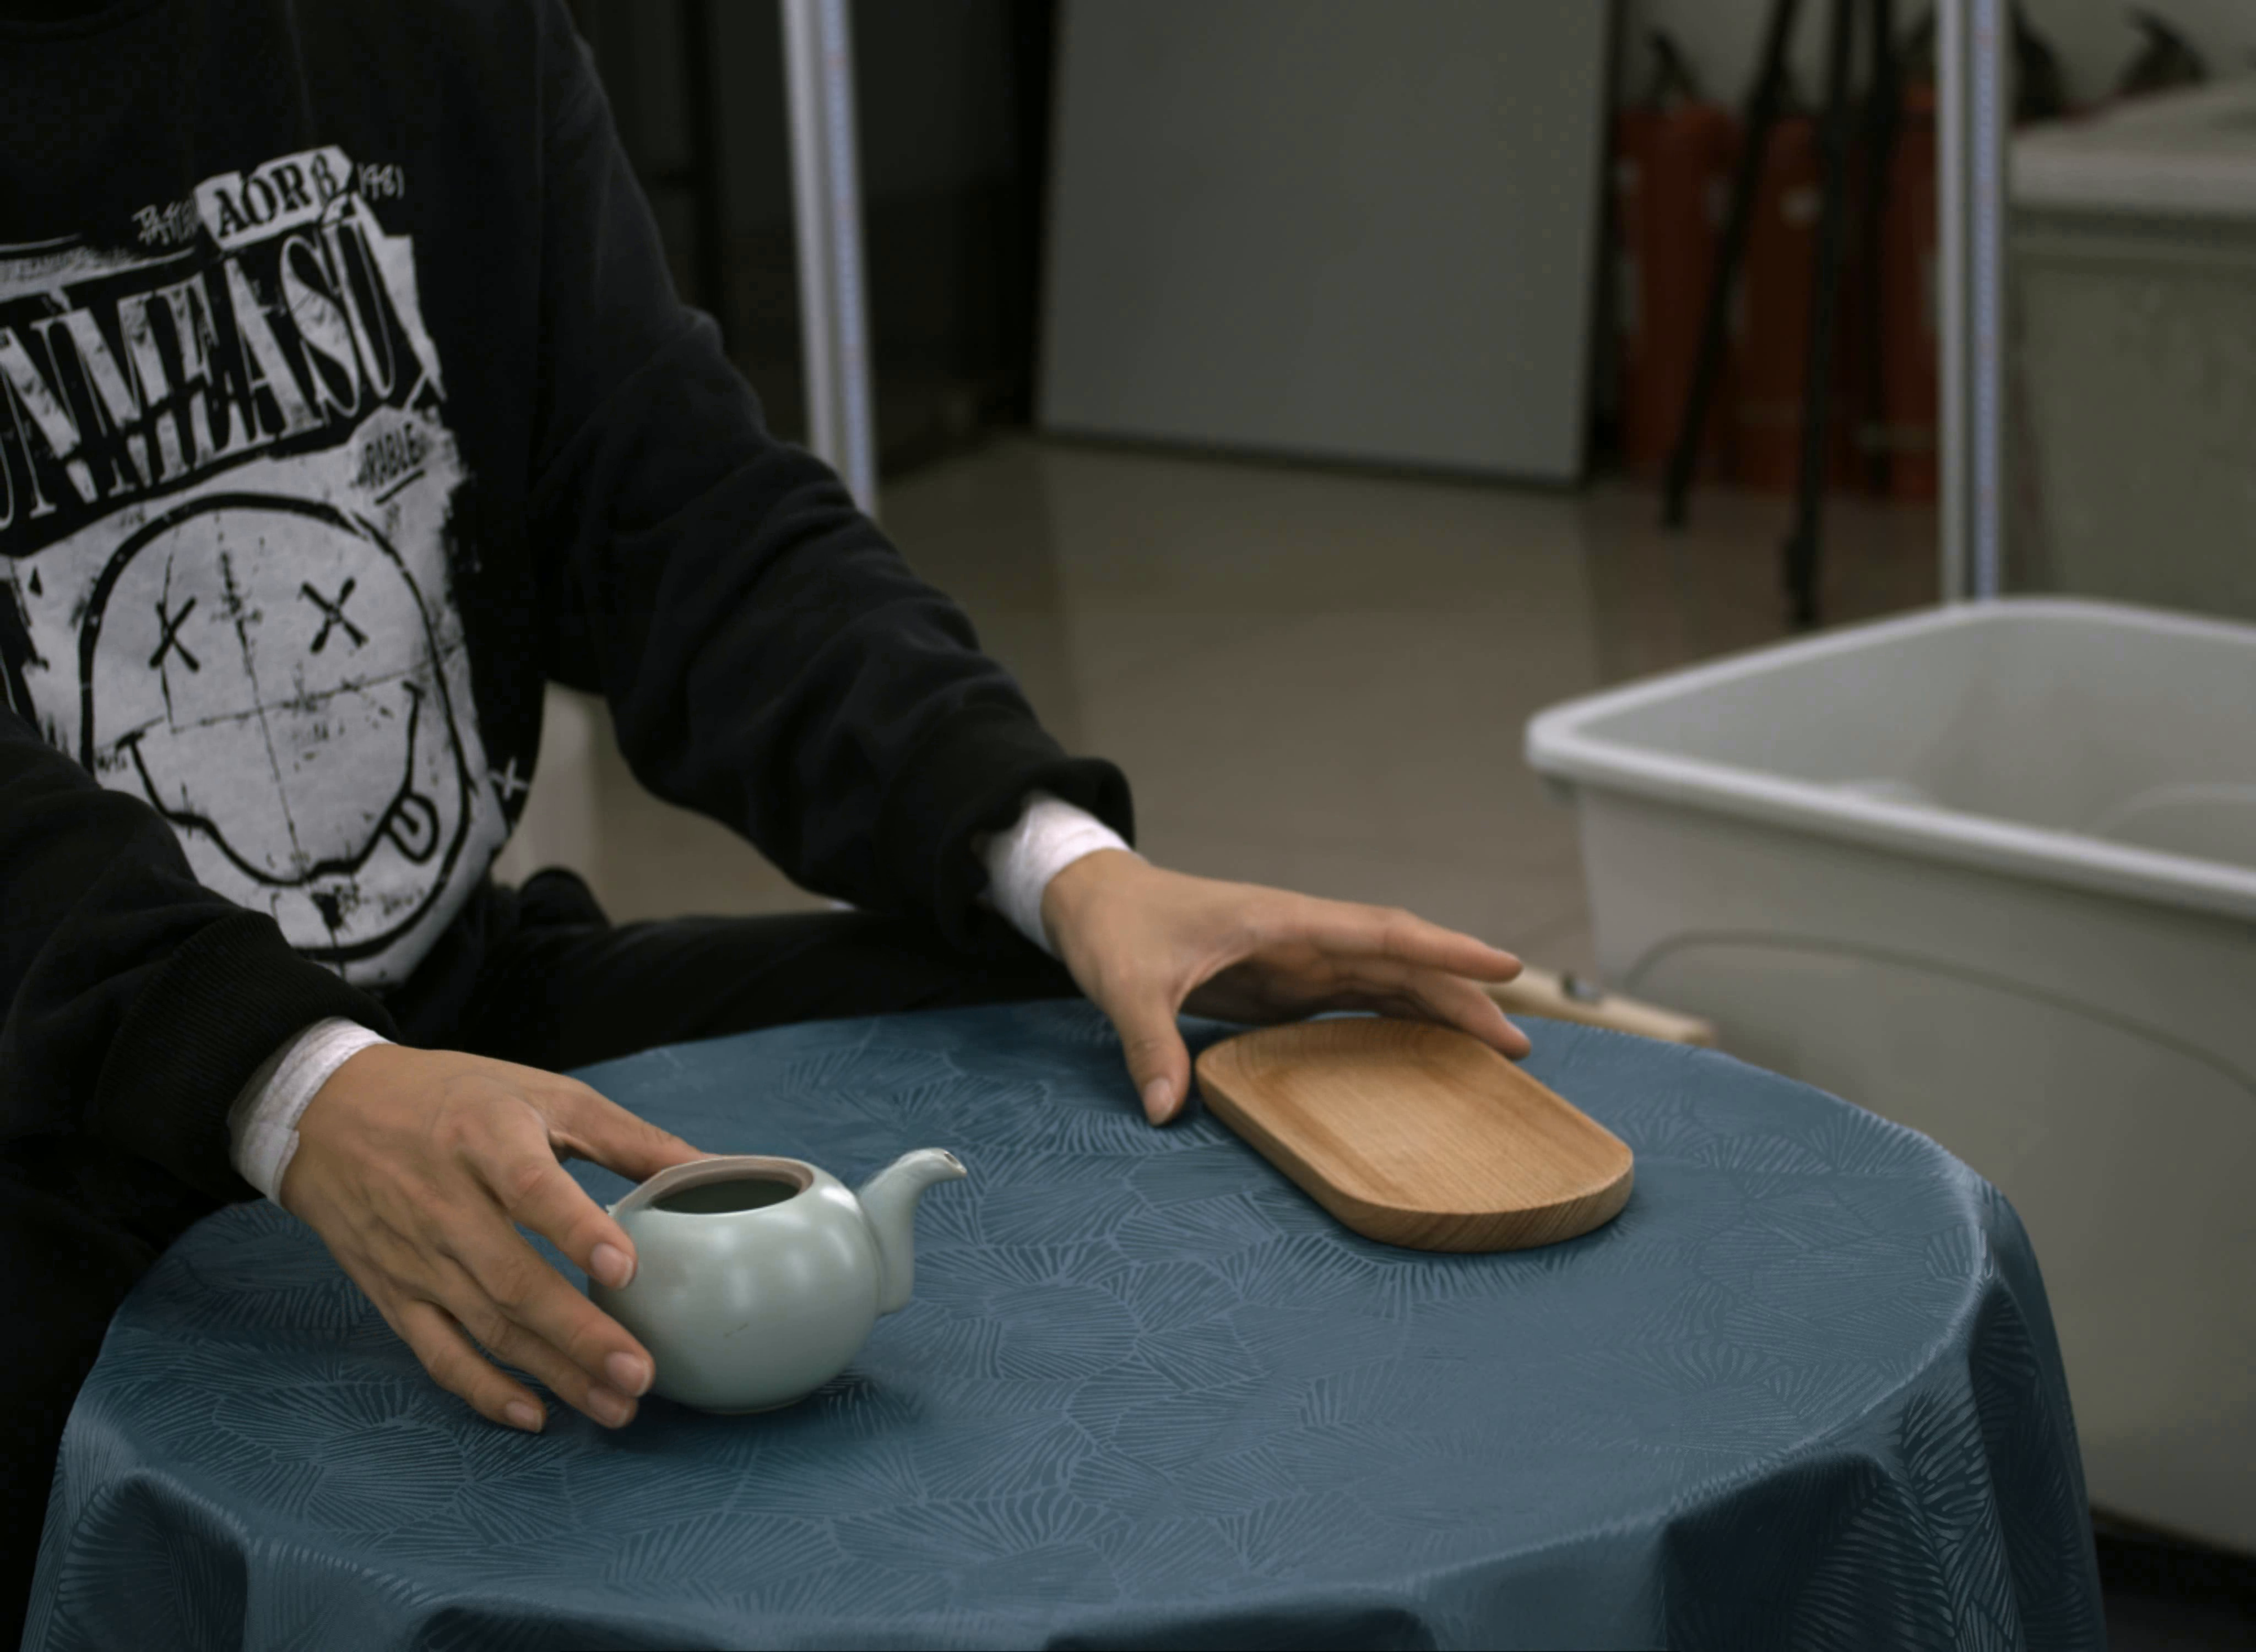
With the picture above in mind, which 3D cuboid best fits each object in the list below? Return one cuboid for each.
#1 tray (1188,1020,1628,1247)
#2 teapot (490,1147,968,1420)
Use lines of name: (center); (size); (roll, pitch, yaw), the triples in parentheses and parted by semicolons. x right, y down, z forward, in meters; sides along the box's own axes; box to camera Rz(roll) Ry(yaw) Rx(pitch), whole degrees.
tray: (0.091, 0.101, 1.796); (0.099, 0.020, 0.233); (-7, 12, -16)
teapot: (-0.117, 0.135, 1.604); (0.142, 0.075, 0.088); (-2, 13, 1)
